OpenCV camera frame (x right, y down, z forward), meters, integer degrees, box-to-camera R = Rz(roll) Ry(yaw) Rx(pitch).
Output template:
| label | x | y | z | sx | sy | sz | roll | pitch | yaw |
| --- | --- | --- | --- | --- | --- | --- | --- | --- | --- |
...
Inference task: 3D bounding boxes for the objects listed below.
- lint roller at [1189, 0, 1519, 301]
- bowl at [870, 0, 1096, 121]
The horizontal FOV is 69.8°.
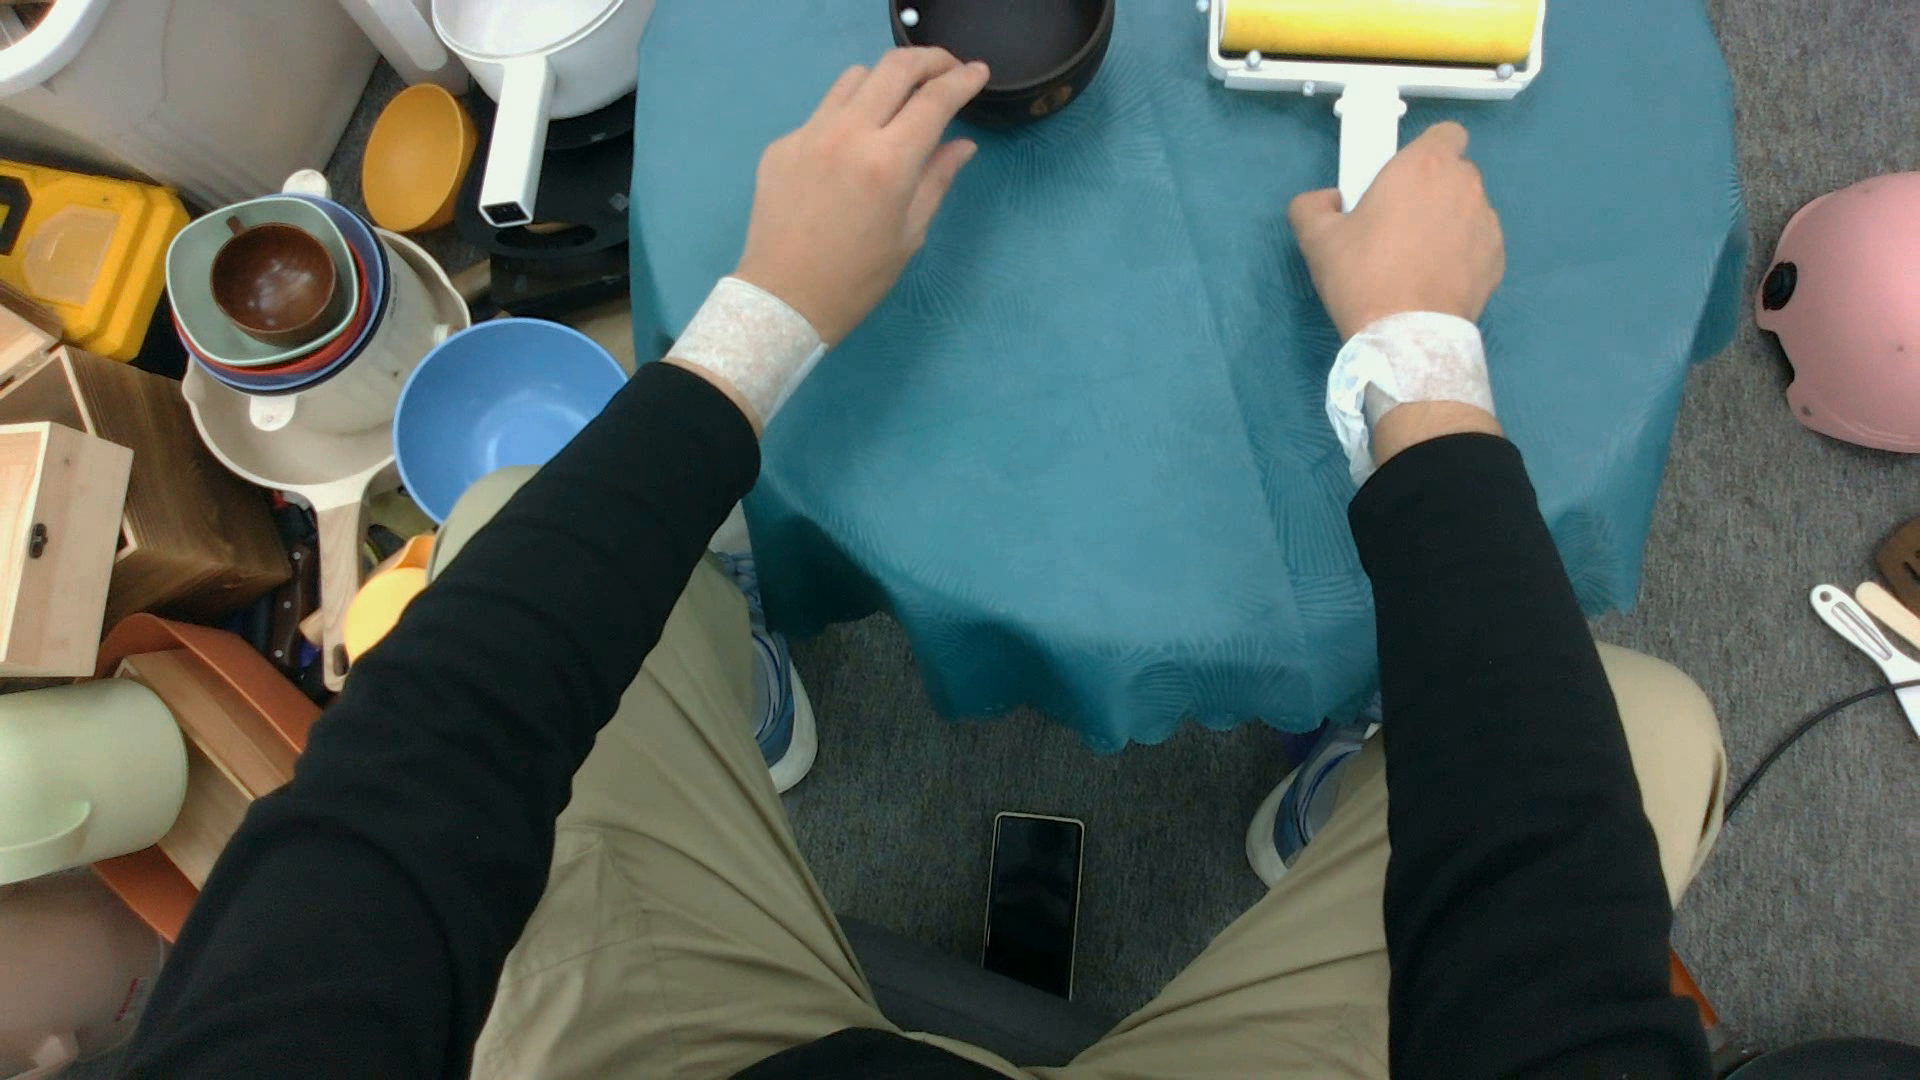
| label | x | y | z | sx | sy | sz | roll | pitch | yaw |
| --- | --- | --- | --- | --- | --- | --- | --- | --- | --- |
| lint roller | 0.208 | -0.221 | 0.722 | 0.174 | 0.051 | 0.192 | 2 | 68 | 3 |
| bowl | 0.013 | -0.277 | 0.735 | 0.118 | 0.070 | 0.118 | -1 | 77 | 2 |
